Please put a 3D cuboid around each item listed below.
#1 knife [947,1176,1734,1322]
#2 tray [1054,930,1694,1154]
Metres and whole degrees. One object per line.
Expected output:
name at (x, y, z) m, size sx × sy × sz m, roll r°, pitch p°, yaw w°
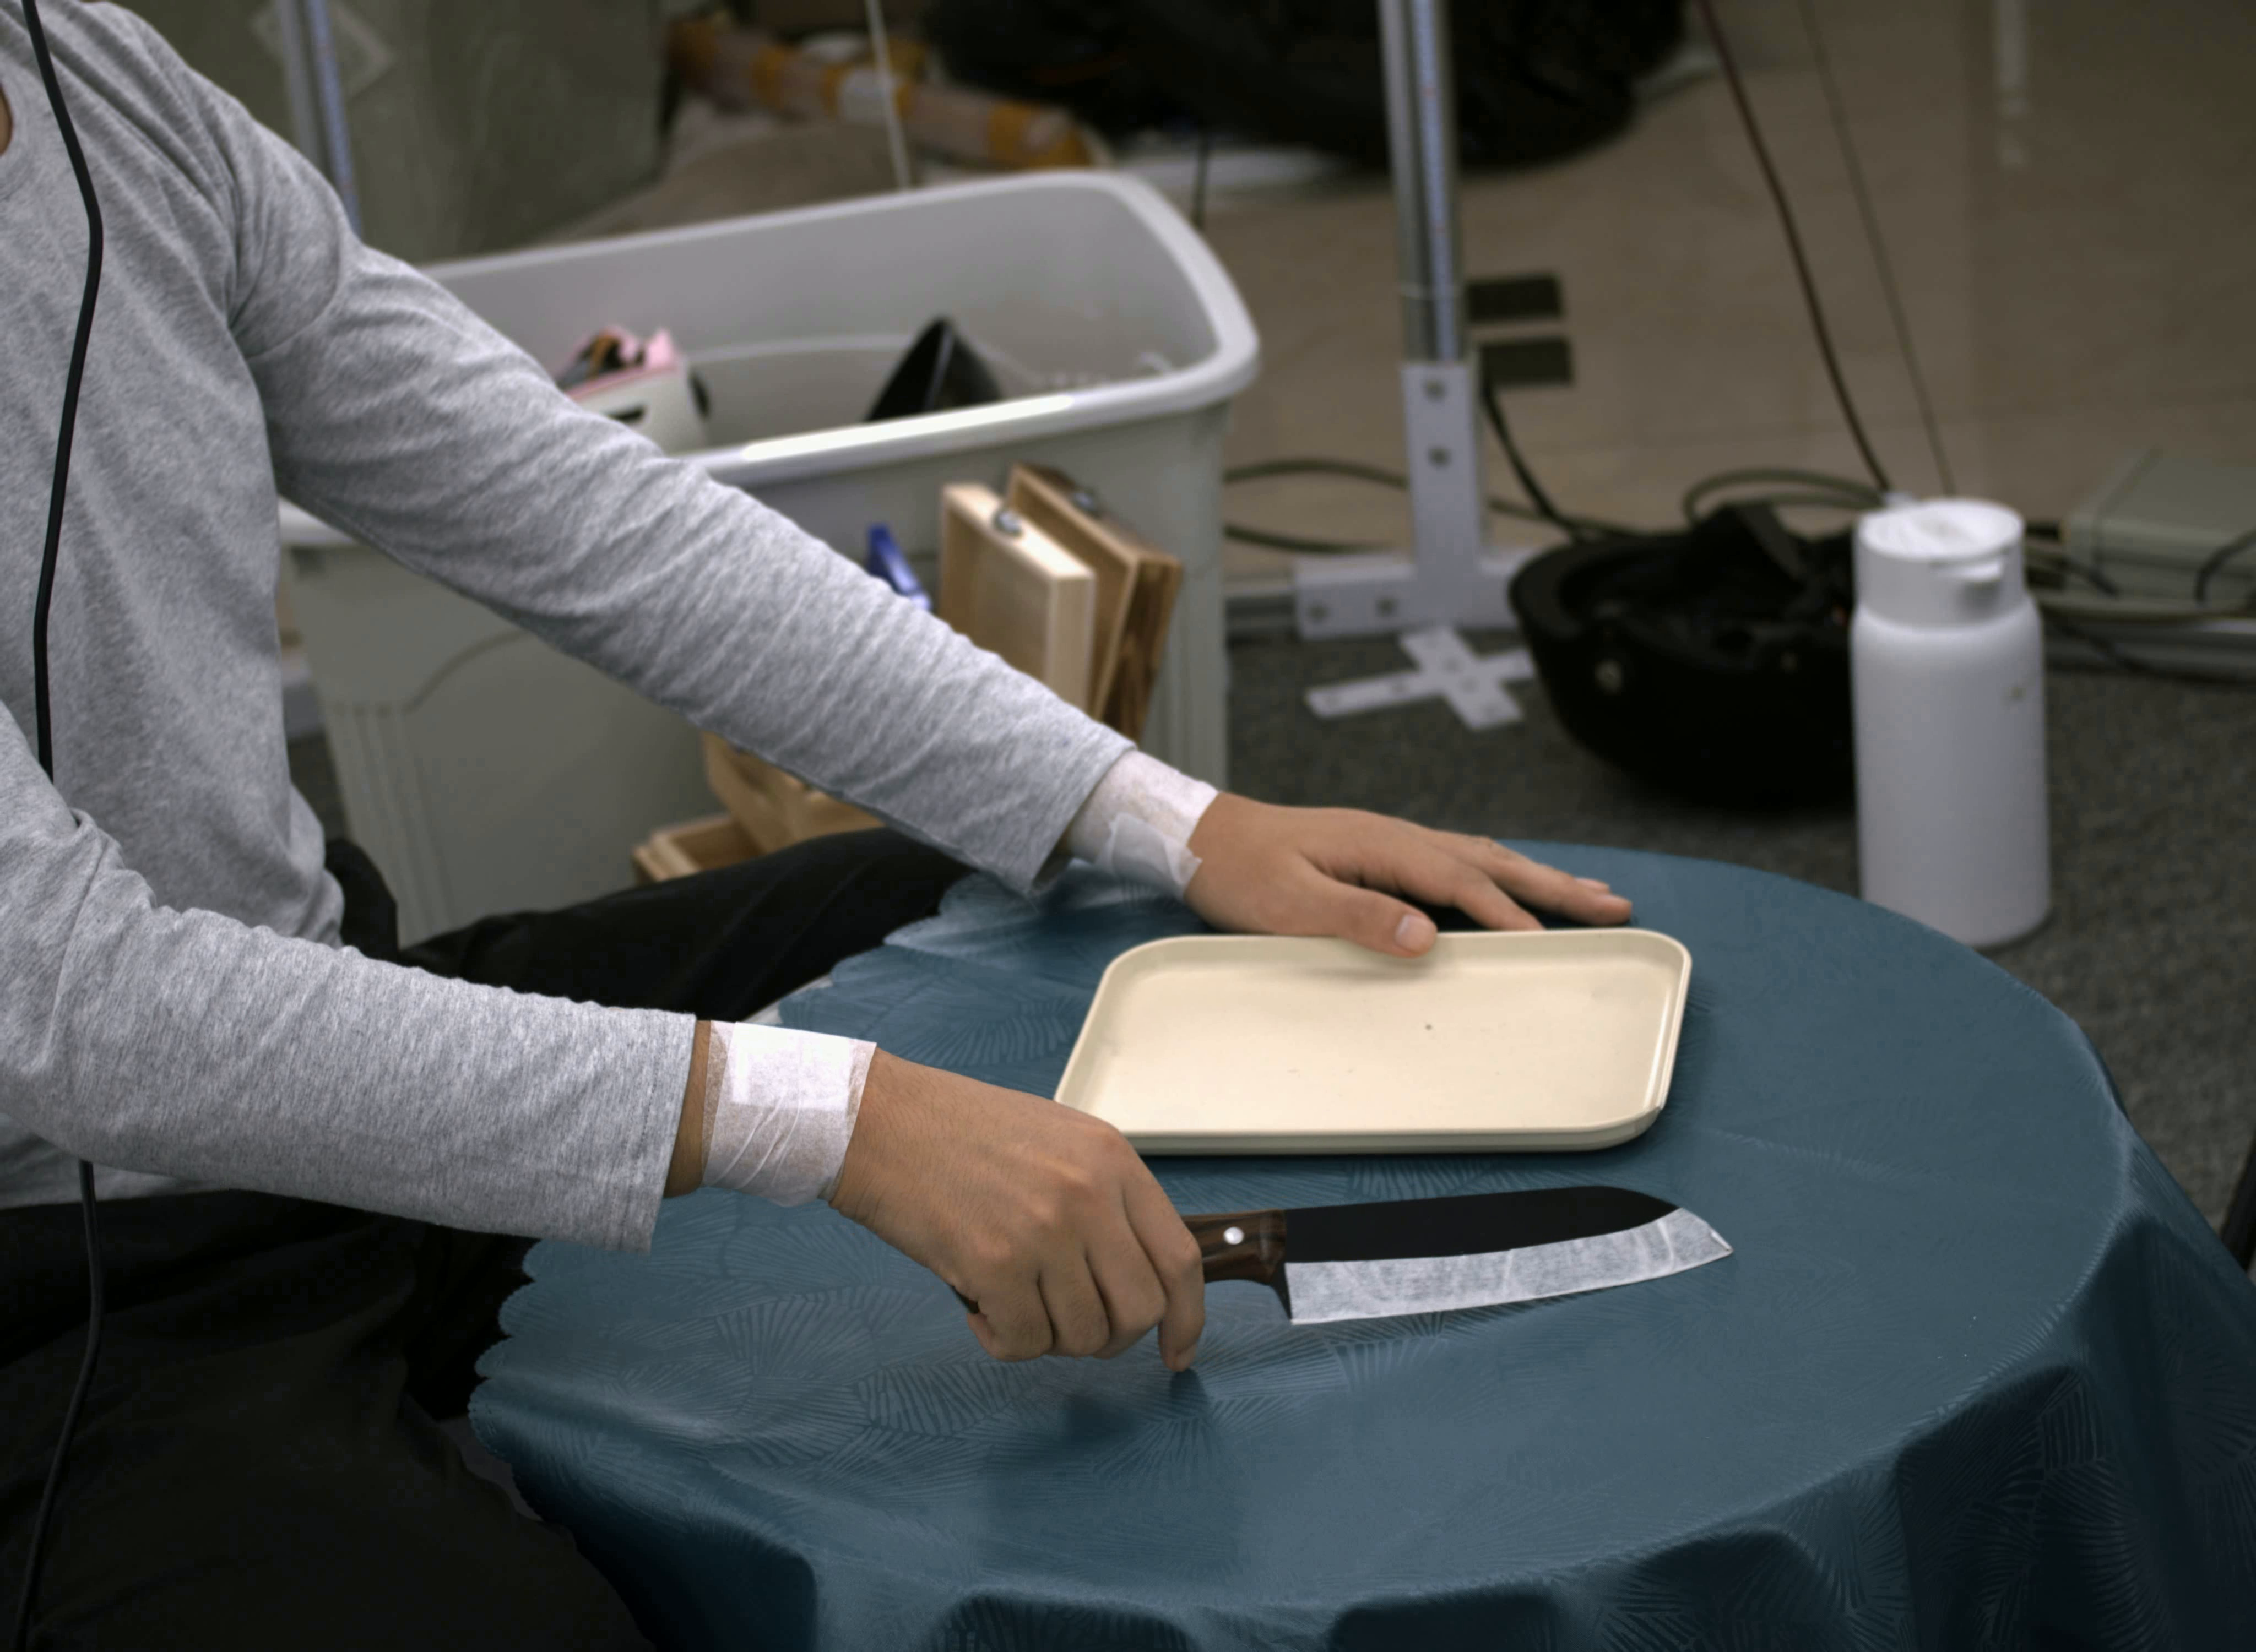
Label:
knife at (0.078, 0.154, 2.035) m, size 0.288 × 0.020 × 0.050 m, roll -2°, pitch 70°, yaw -11°
tray at (0.098, 0.086, 2.221) m, size 0.239 × 0.018 × 0.169 m, roll -1°, pitch 25°, yaw 12°
